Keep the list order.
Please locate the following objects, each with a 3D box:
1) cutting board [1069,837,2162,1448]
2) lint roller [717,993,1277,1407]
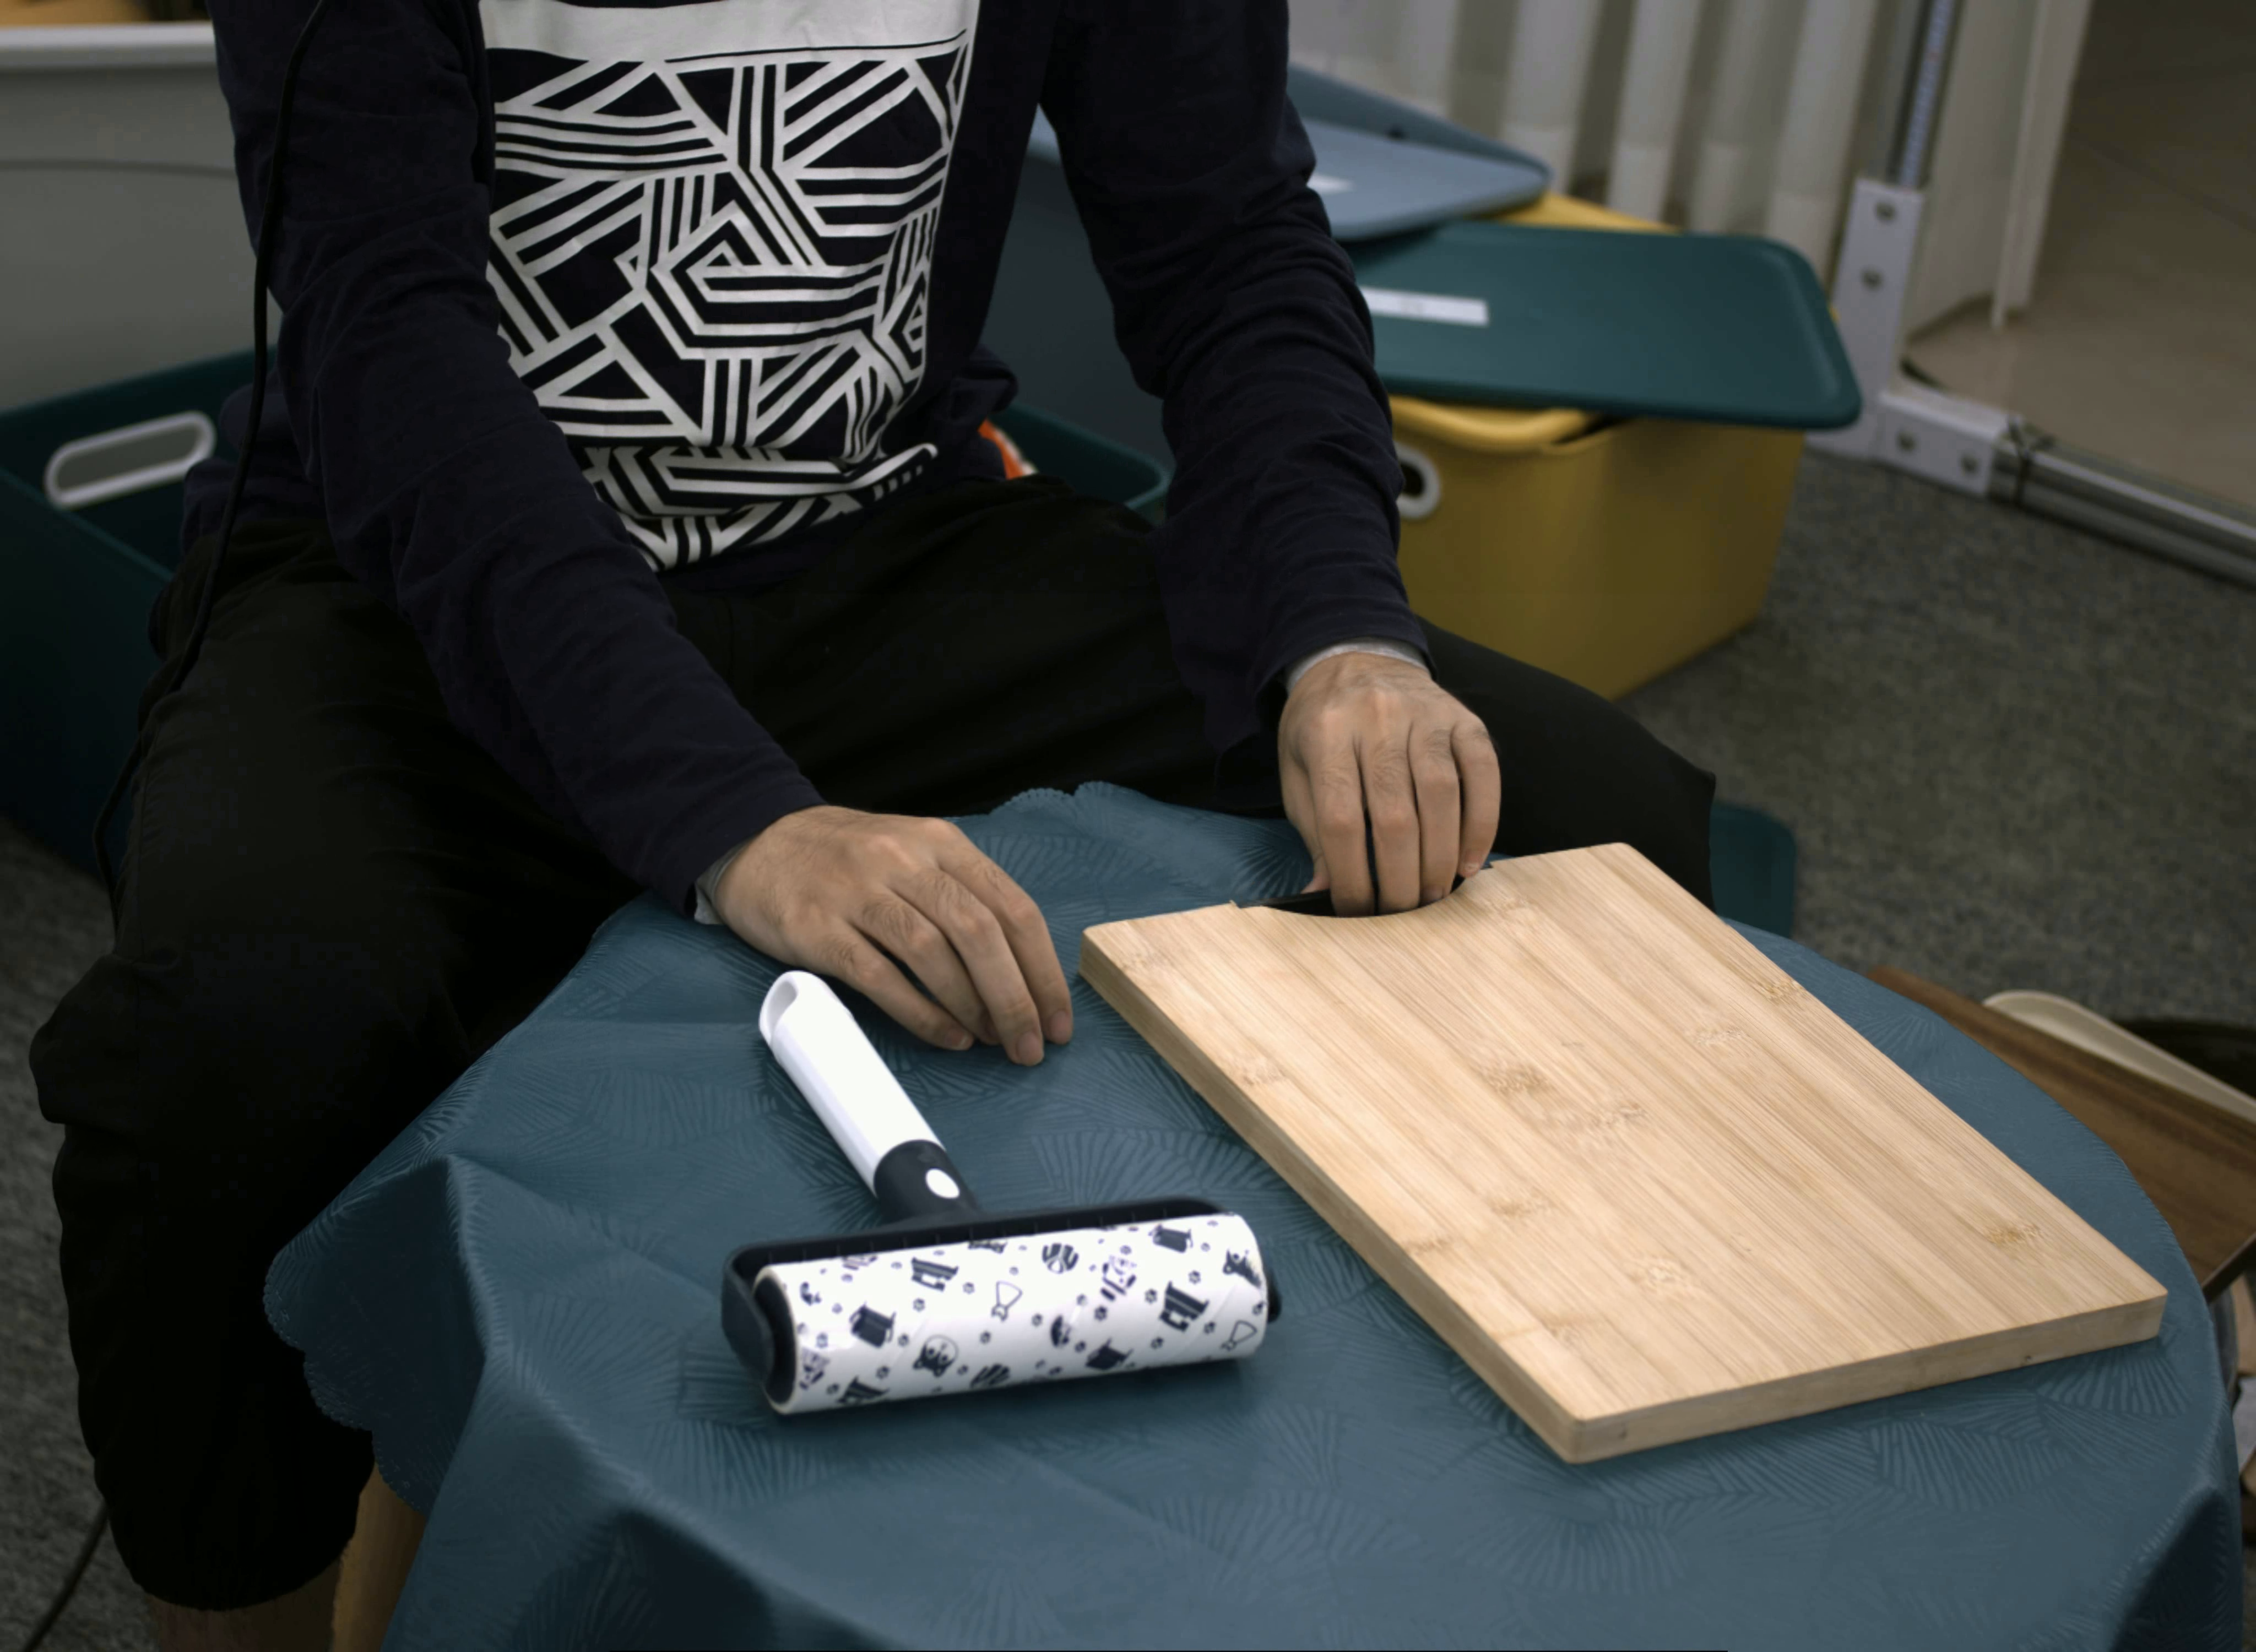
[{"bbox_3d":[0.162,0.103,1.866,0.249,0.023,0.352,-8,30,-28],"label":"cutting board"},{"bbox_3d":[-0.077,0.110,1.770,0.175,0.050,0.249,-6,27,-21],"label":"lint roller"}]
